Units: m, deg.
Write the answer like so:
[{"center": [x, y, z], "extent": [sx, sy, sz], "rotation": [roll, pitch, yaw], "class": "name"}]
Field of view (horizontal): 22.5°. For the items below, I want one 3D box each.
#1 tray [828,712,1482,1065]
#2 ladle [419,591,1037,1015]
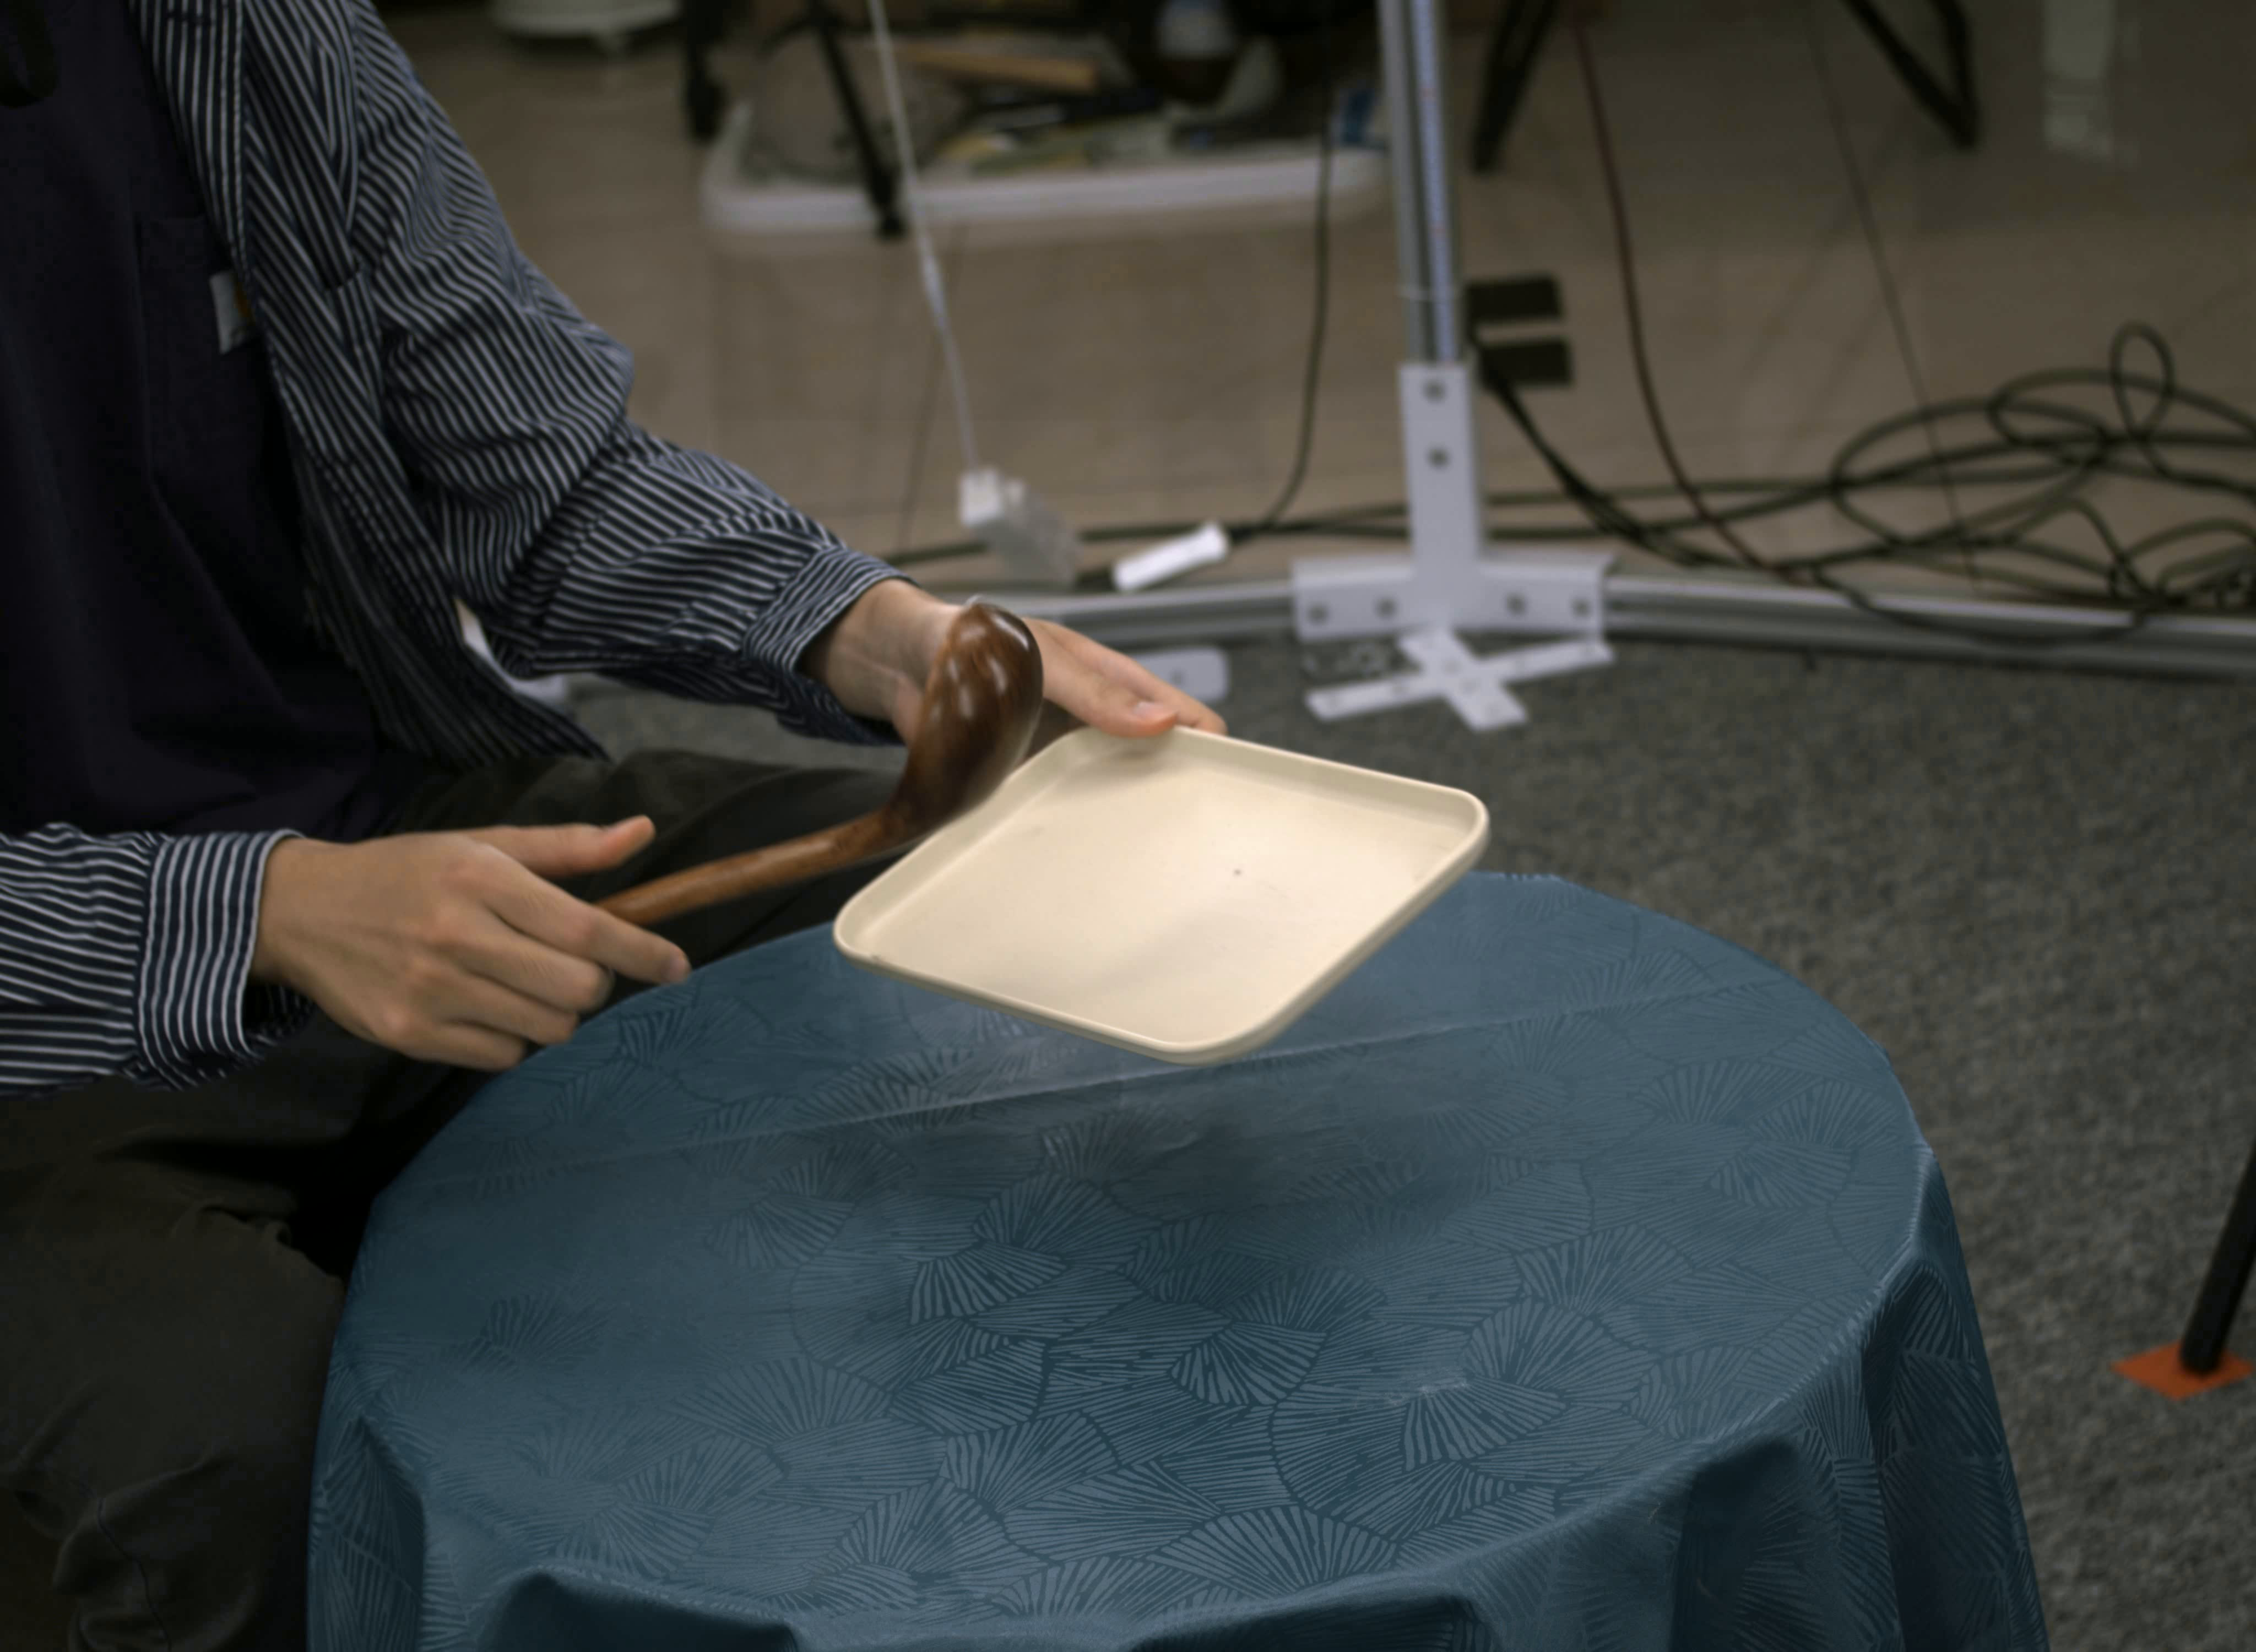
[{"center": [0.009, 0.023, 2.147], "extent": [0.169, 0.018, 0.238], "rotation": [-39, 33, -28], "class": "tray"}, {"center": [-0.153, -0.009, 2.057], "extent": [0.275, 0.076, 0.081], "rotation": [-20, -1, 21], "class": "ladle"}]
